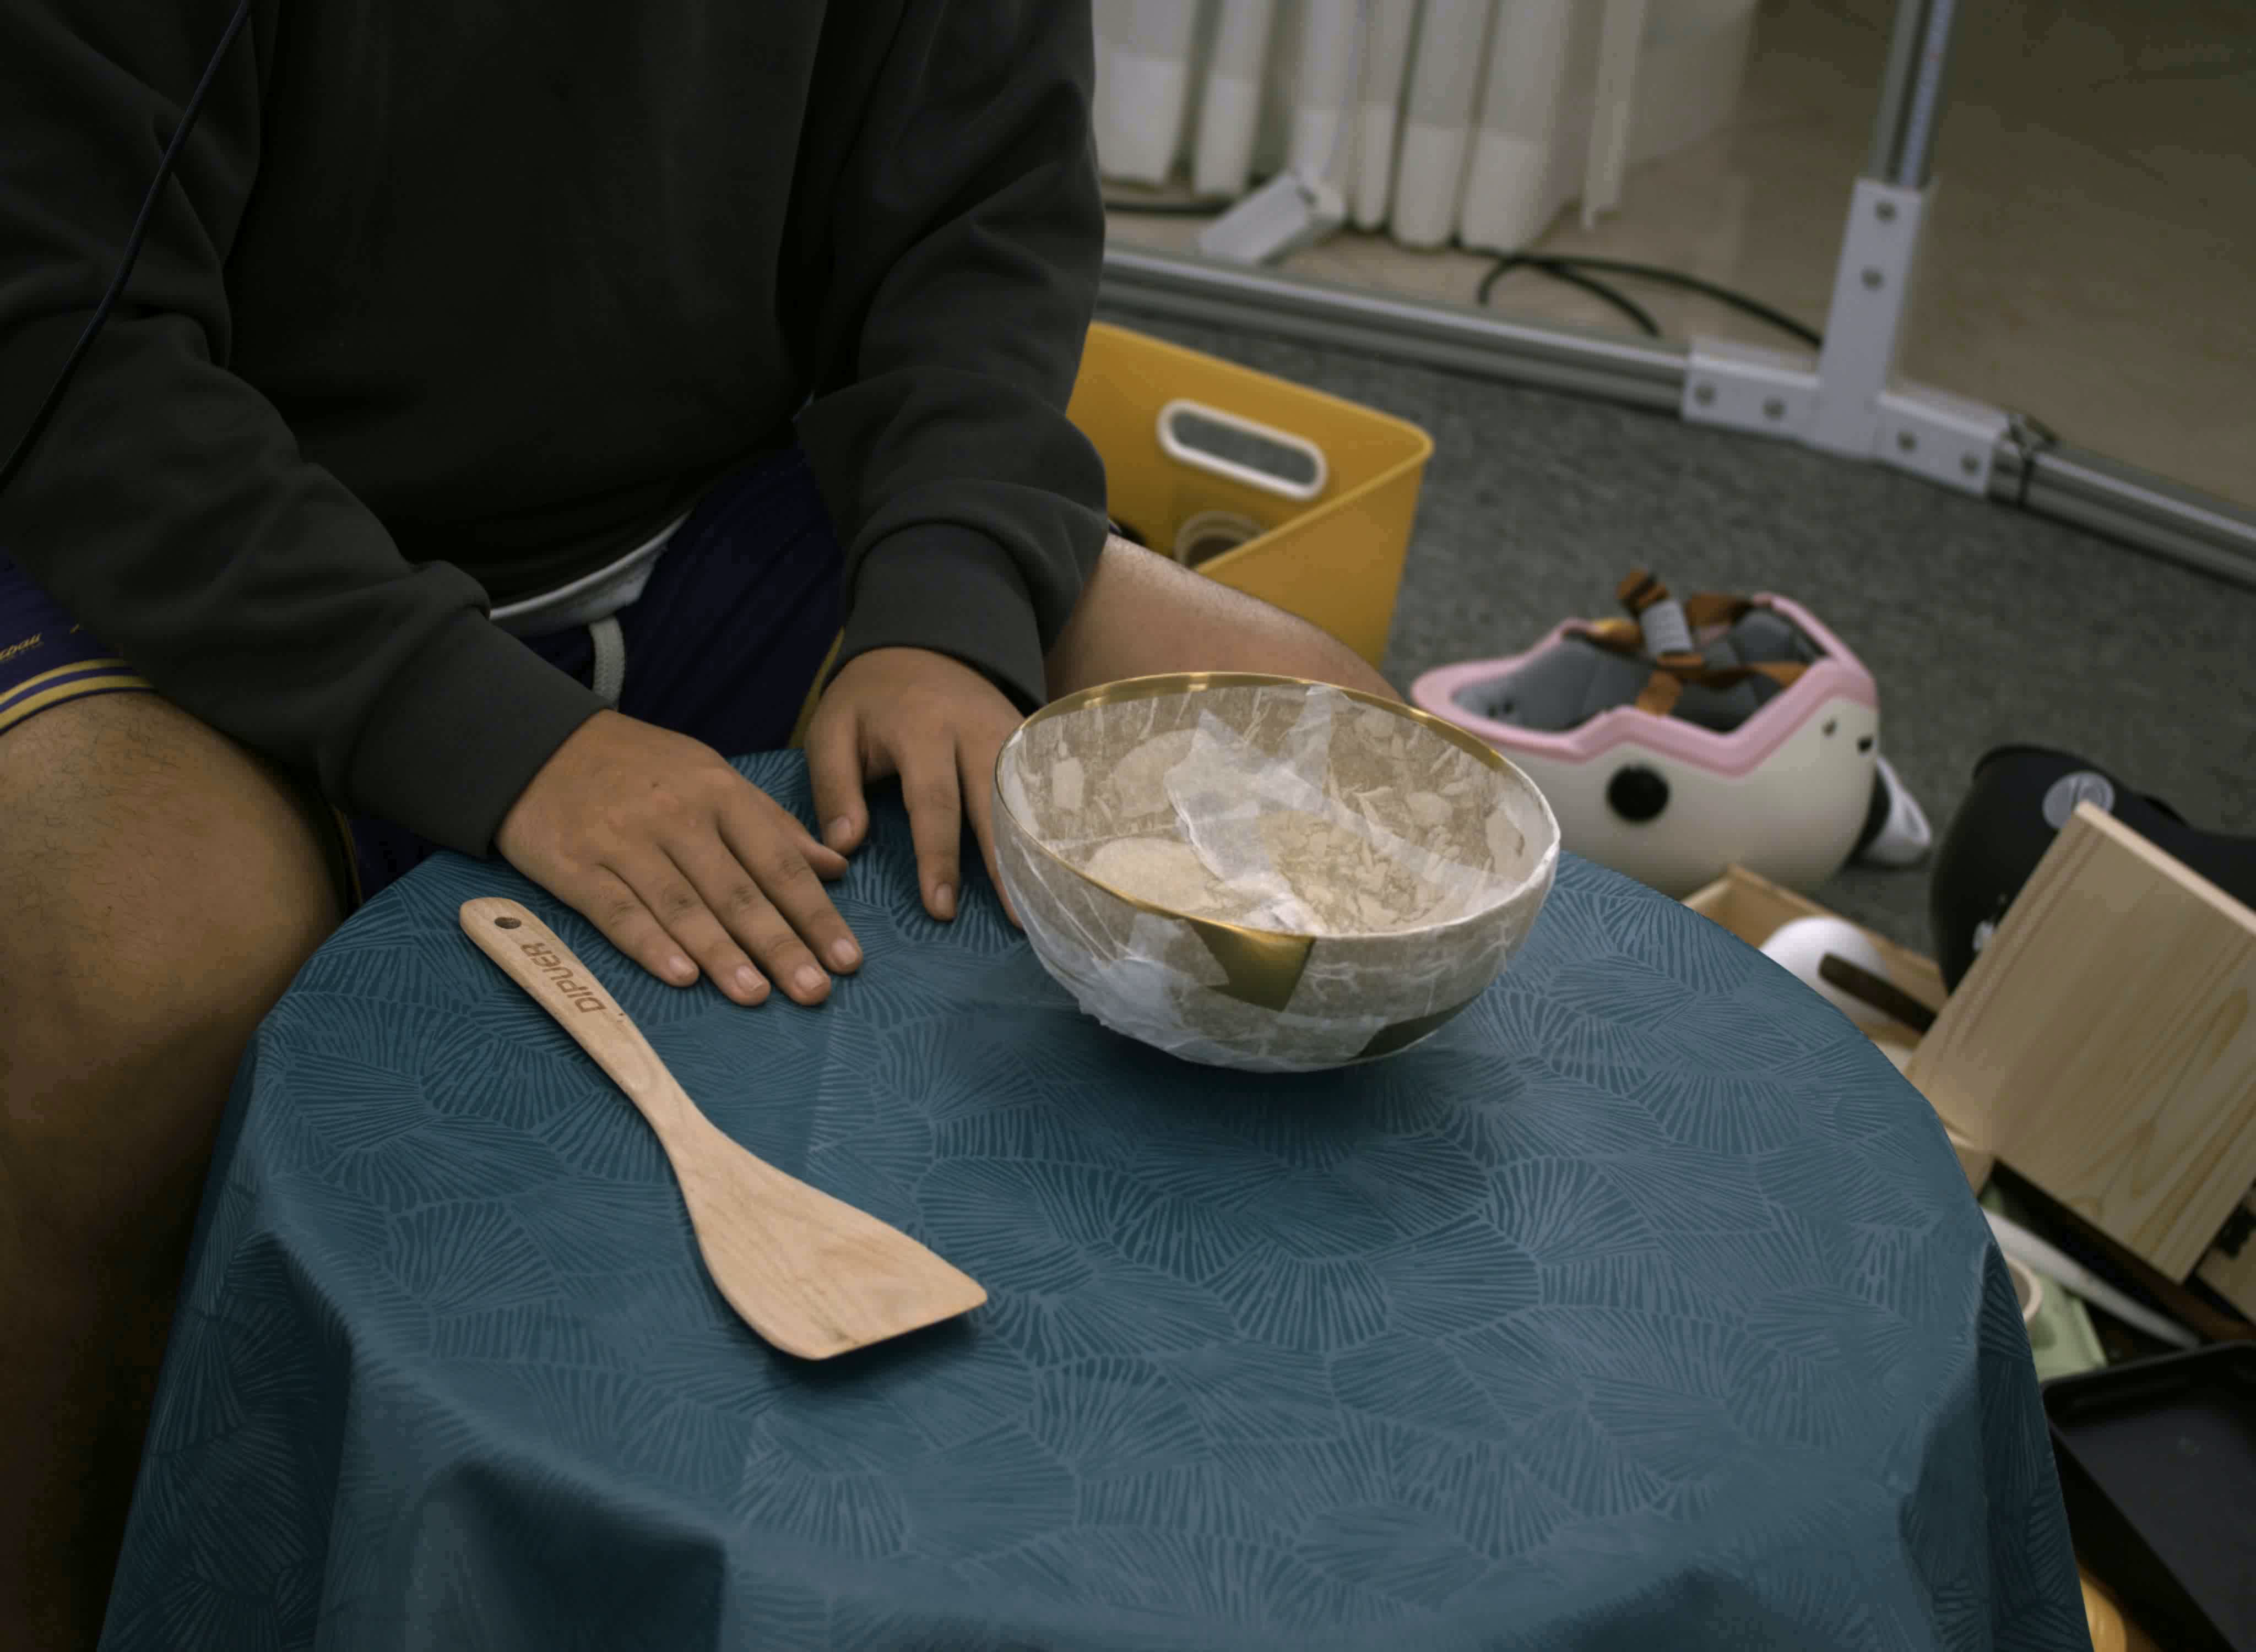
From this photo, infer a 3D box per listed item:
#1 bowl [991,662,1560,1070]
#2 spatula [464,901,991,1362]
[{"bbox_3d":[0.046,0.025,1.899,0.214,0.094,0.216,5,28,-3],"label":"bowl"},{"bbox_3d":[-0.150,0.097,1.803,0.079,0.016,0.330,-10,31,-29],"label":"spatula"}]
